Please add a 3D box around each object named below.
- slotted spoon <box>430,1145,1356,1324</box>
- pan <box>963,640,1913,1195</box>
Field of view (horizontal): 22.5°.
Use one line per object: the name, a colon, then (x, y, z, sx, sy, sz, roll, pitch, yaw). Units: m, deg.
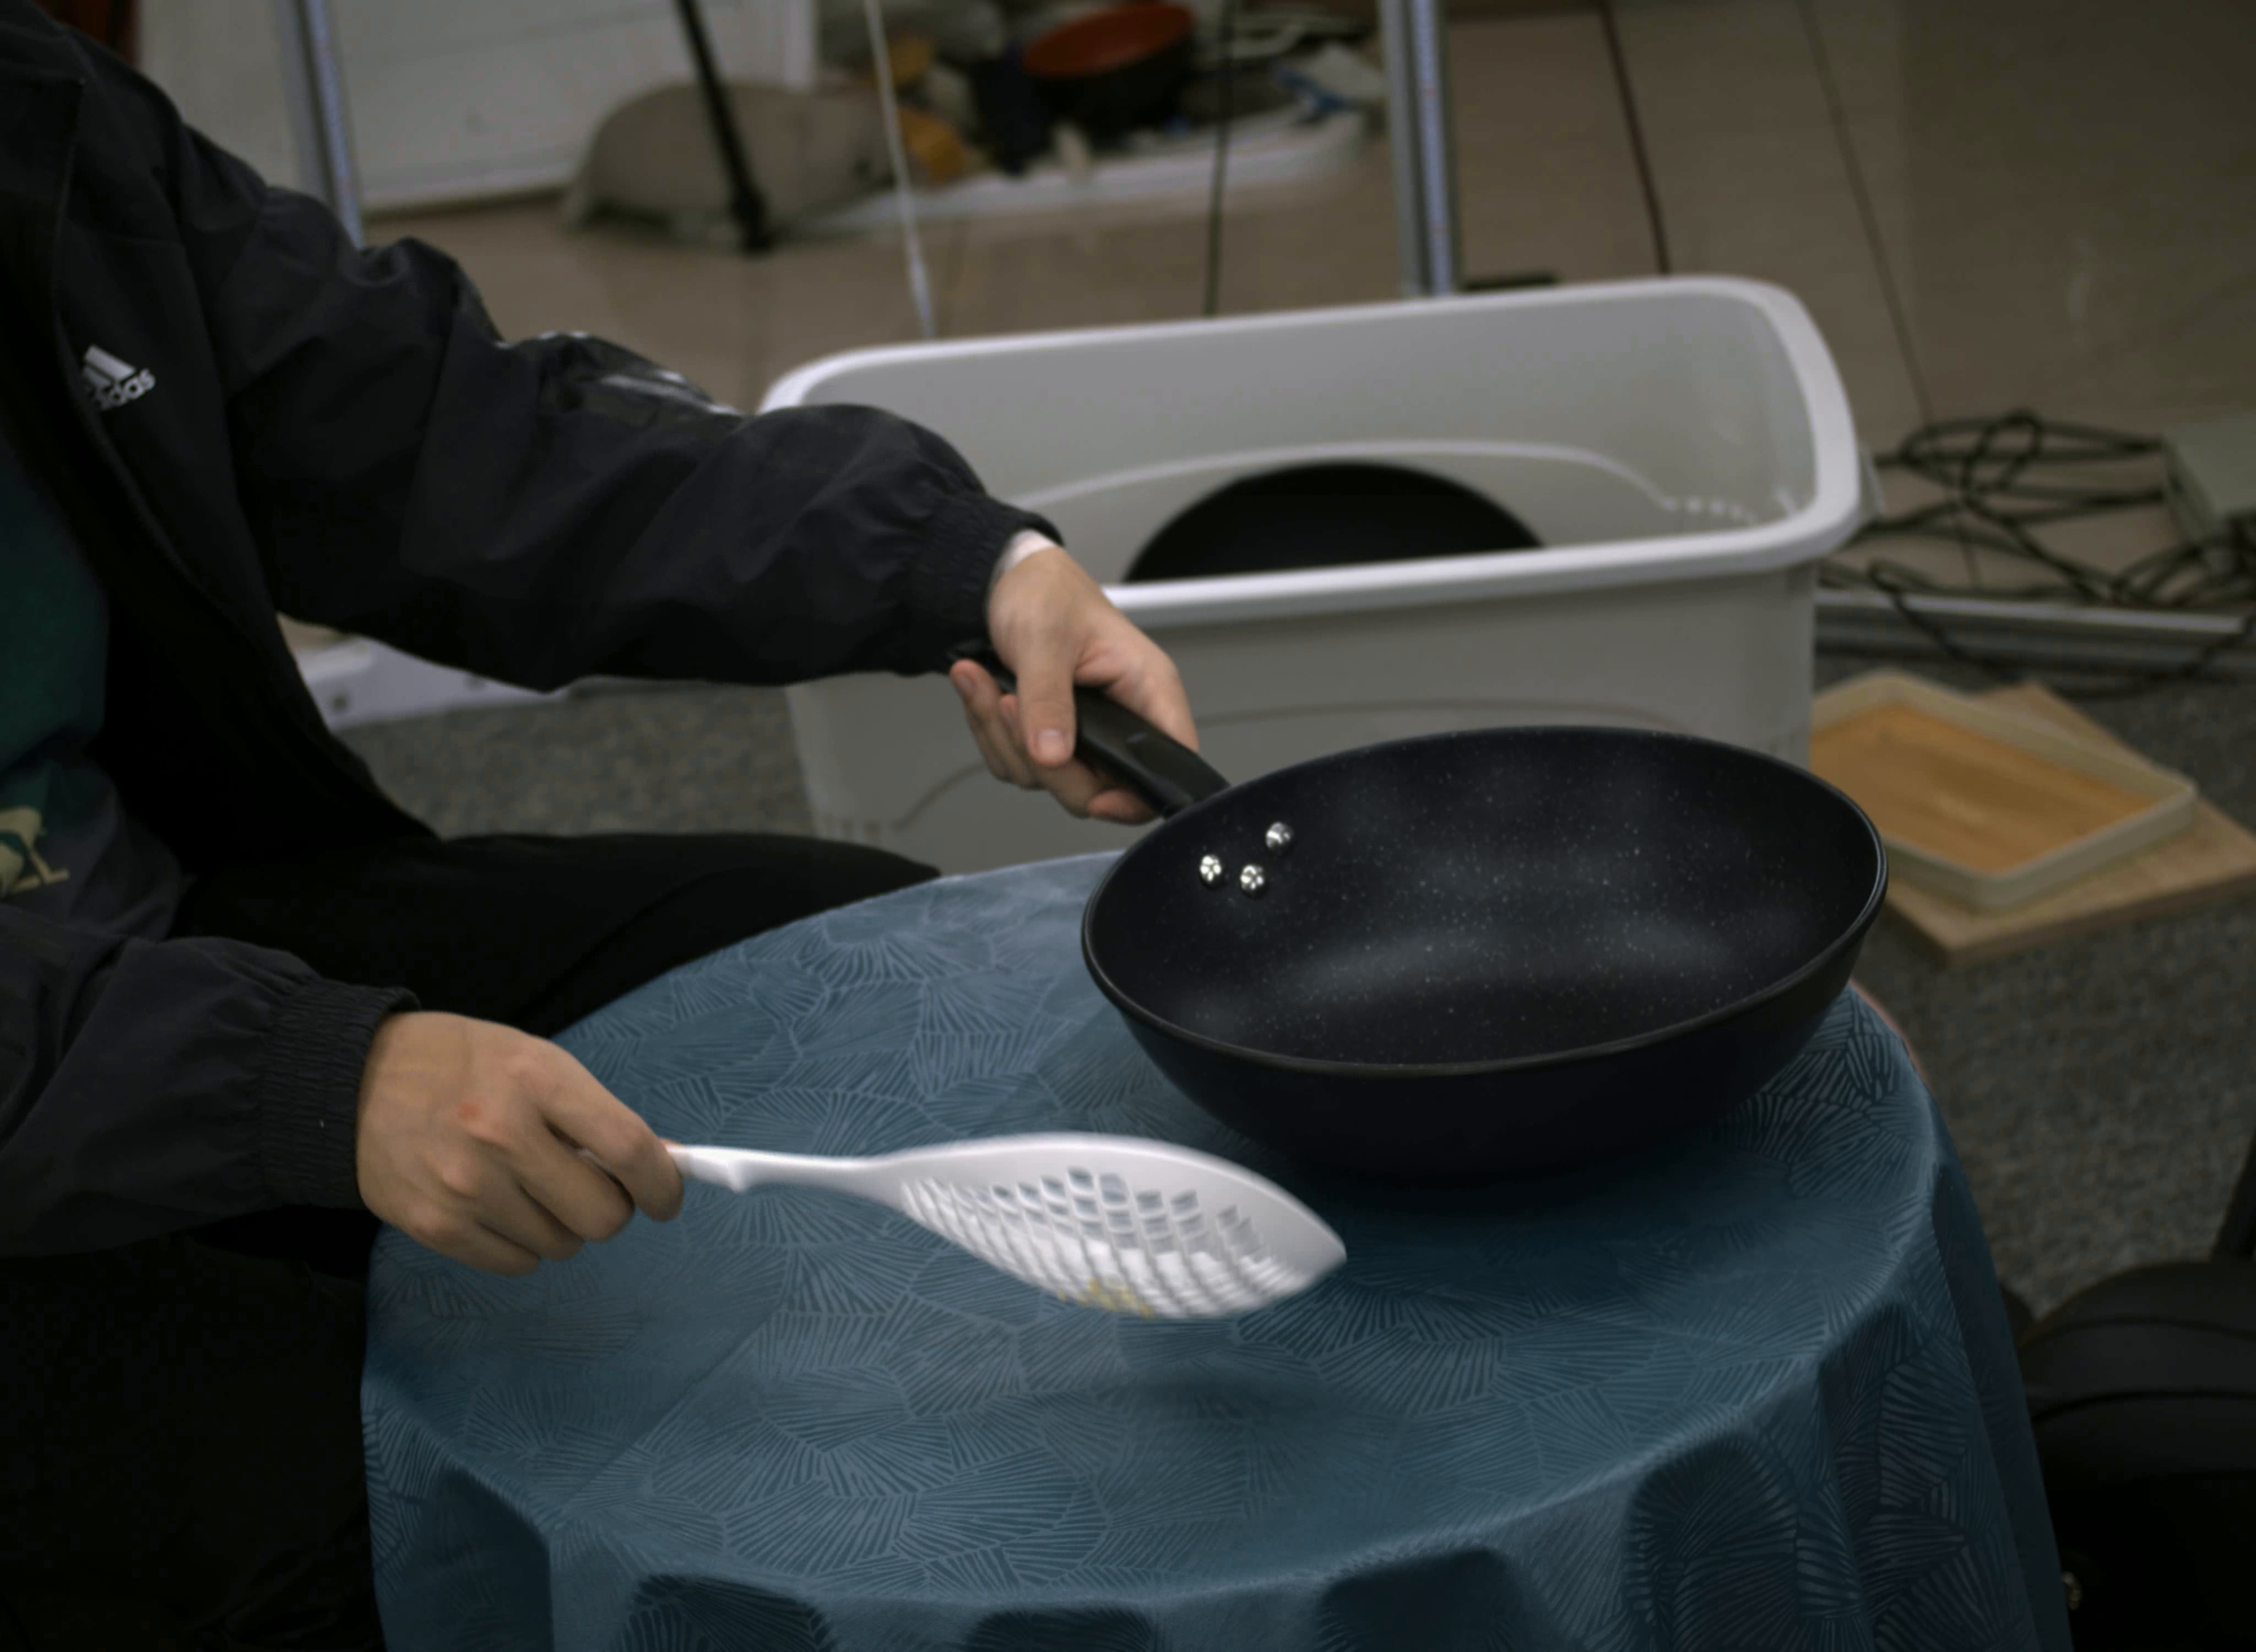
slotted spoon: (-0.089, 0.138, 2.001, 0.346, 0.138, 0.050, 7, 74, 26)
pan: (0.092, 0.033, 2.227, 0.308, 0.113, 0.473, -23, 29, -34)
